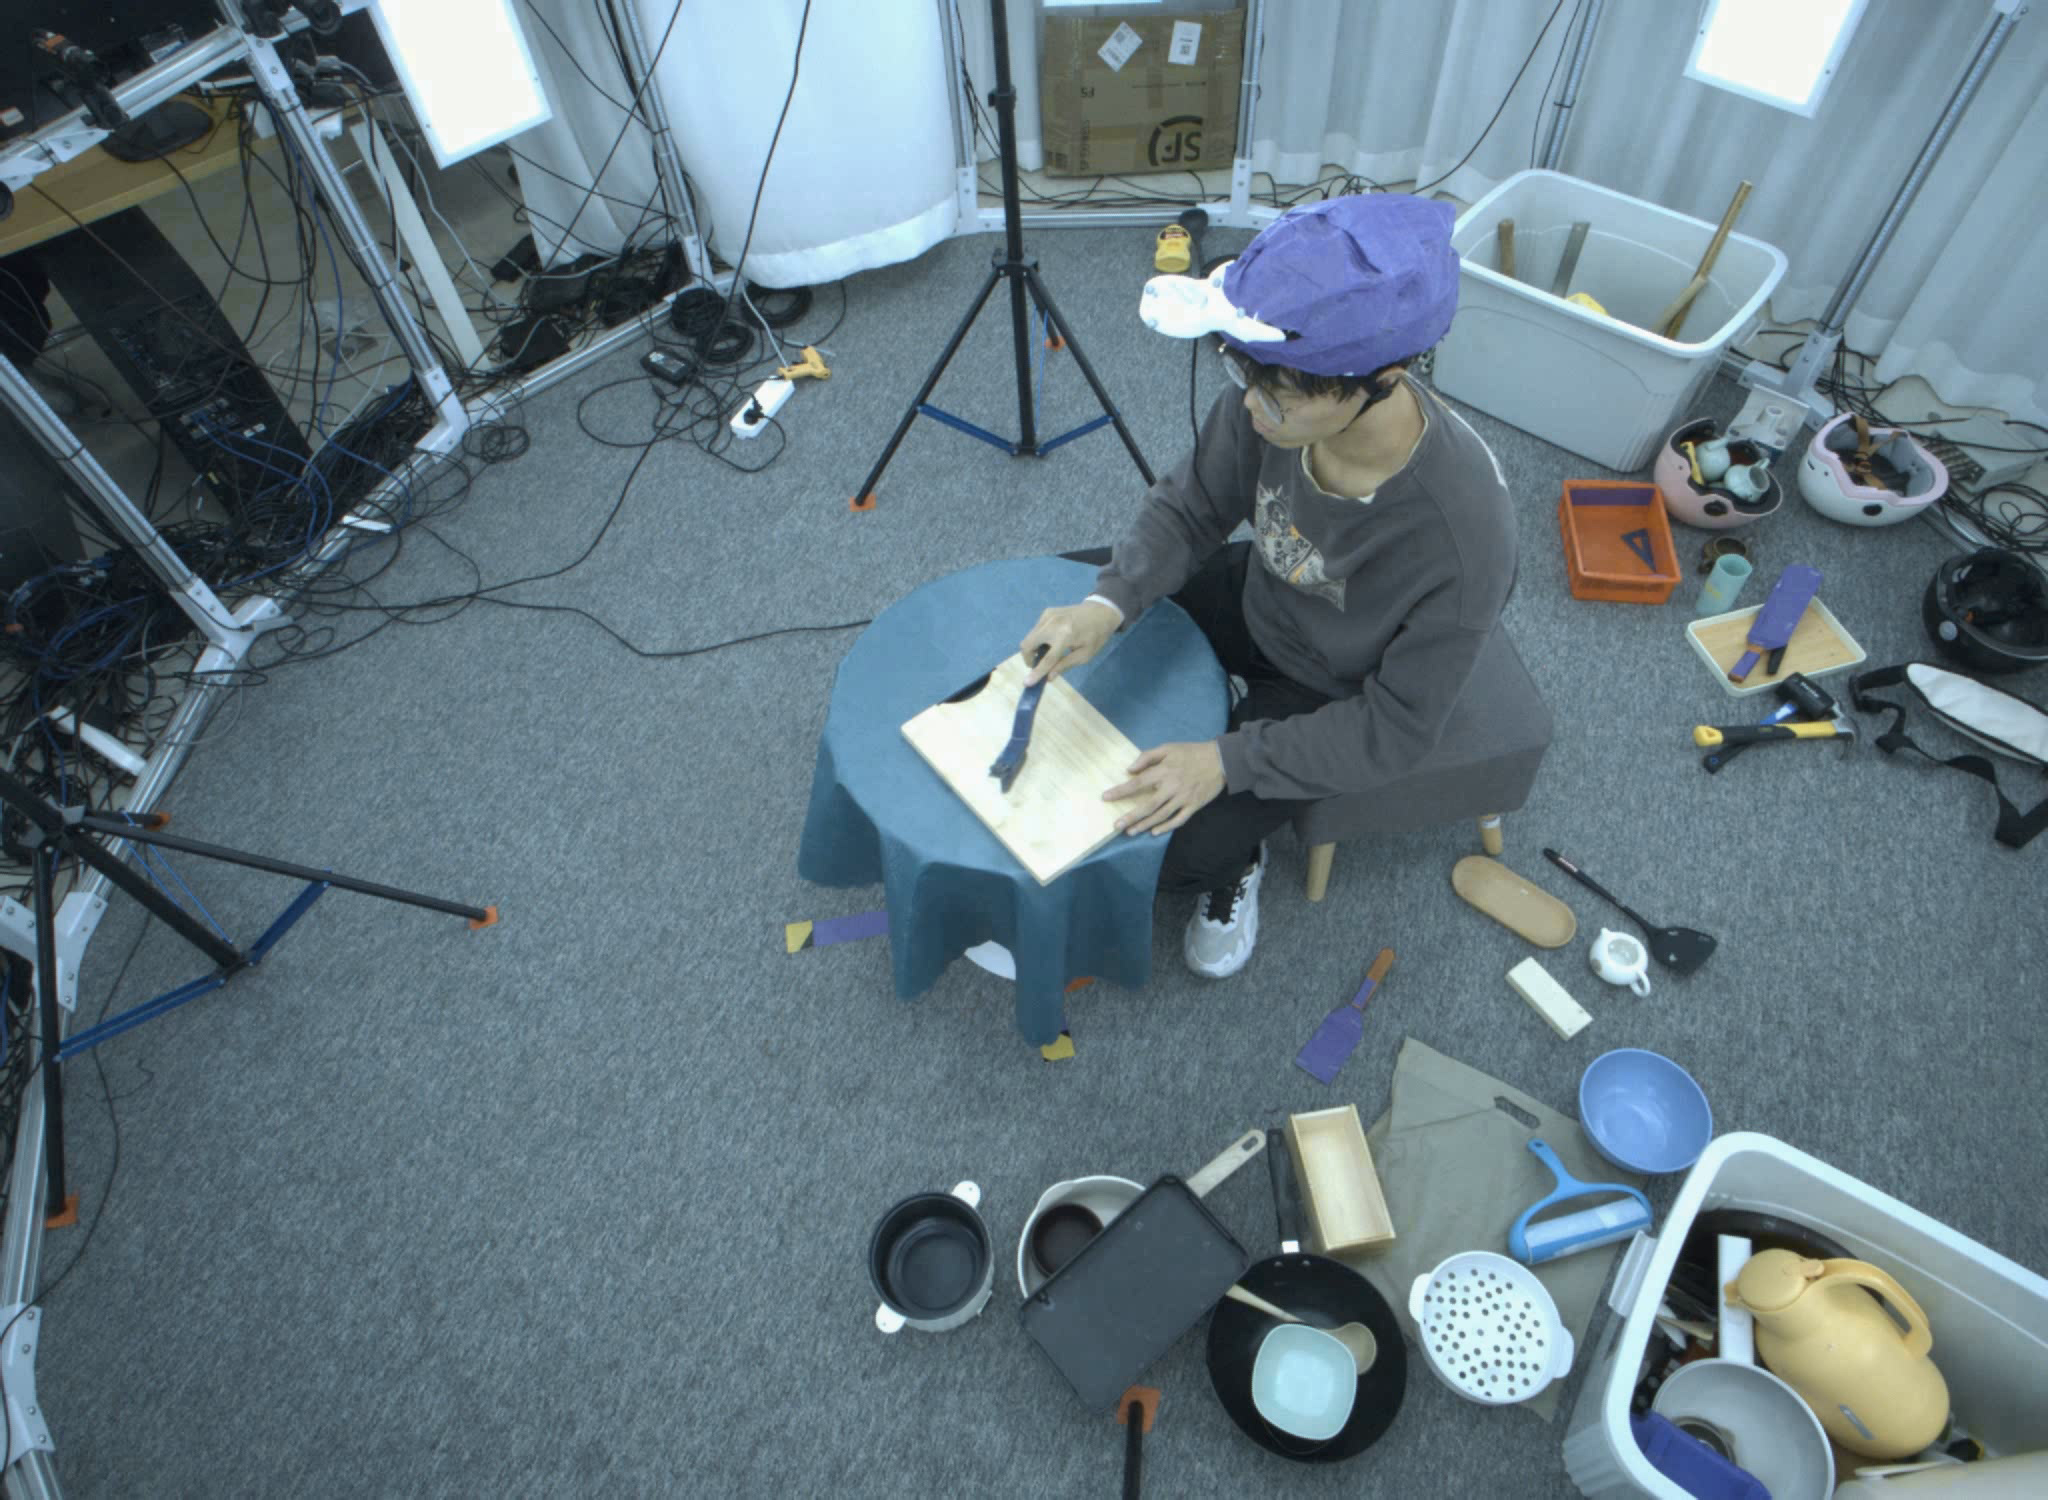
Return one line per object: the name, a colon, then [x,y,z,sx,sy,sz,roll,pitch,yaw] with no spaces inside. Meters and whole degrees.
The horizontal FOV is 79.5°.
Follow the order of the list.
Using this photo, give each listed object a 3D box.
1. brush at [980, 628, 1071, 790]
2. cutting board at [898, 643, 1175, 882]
brush: [0.005,-0.070,1.671,0.033,0.097,0.272,8,64,22]
cutting board: [0.013,0.009,1.768,0.253,0.024,0.342,-34,60,-21]
